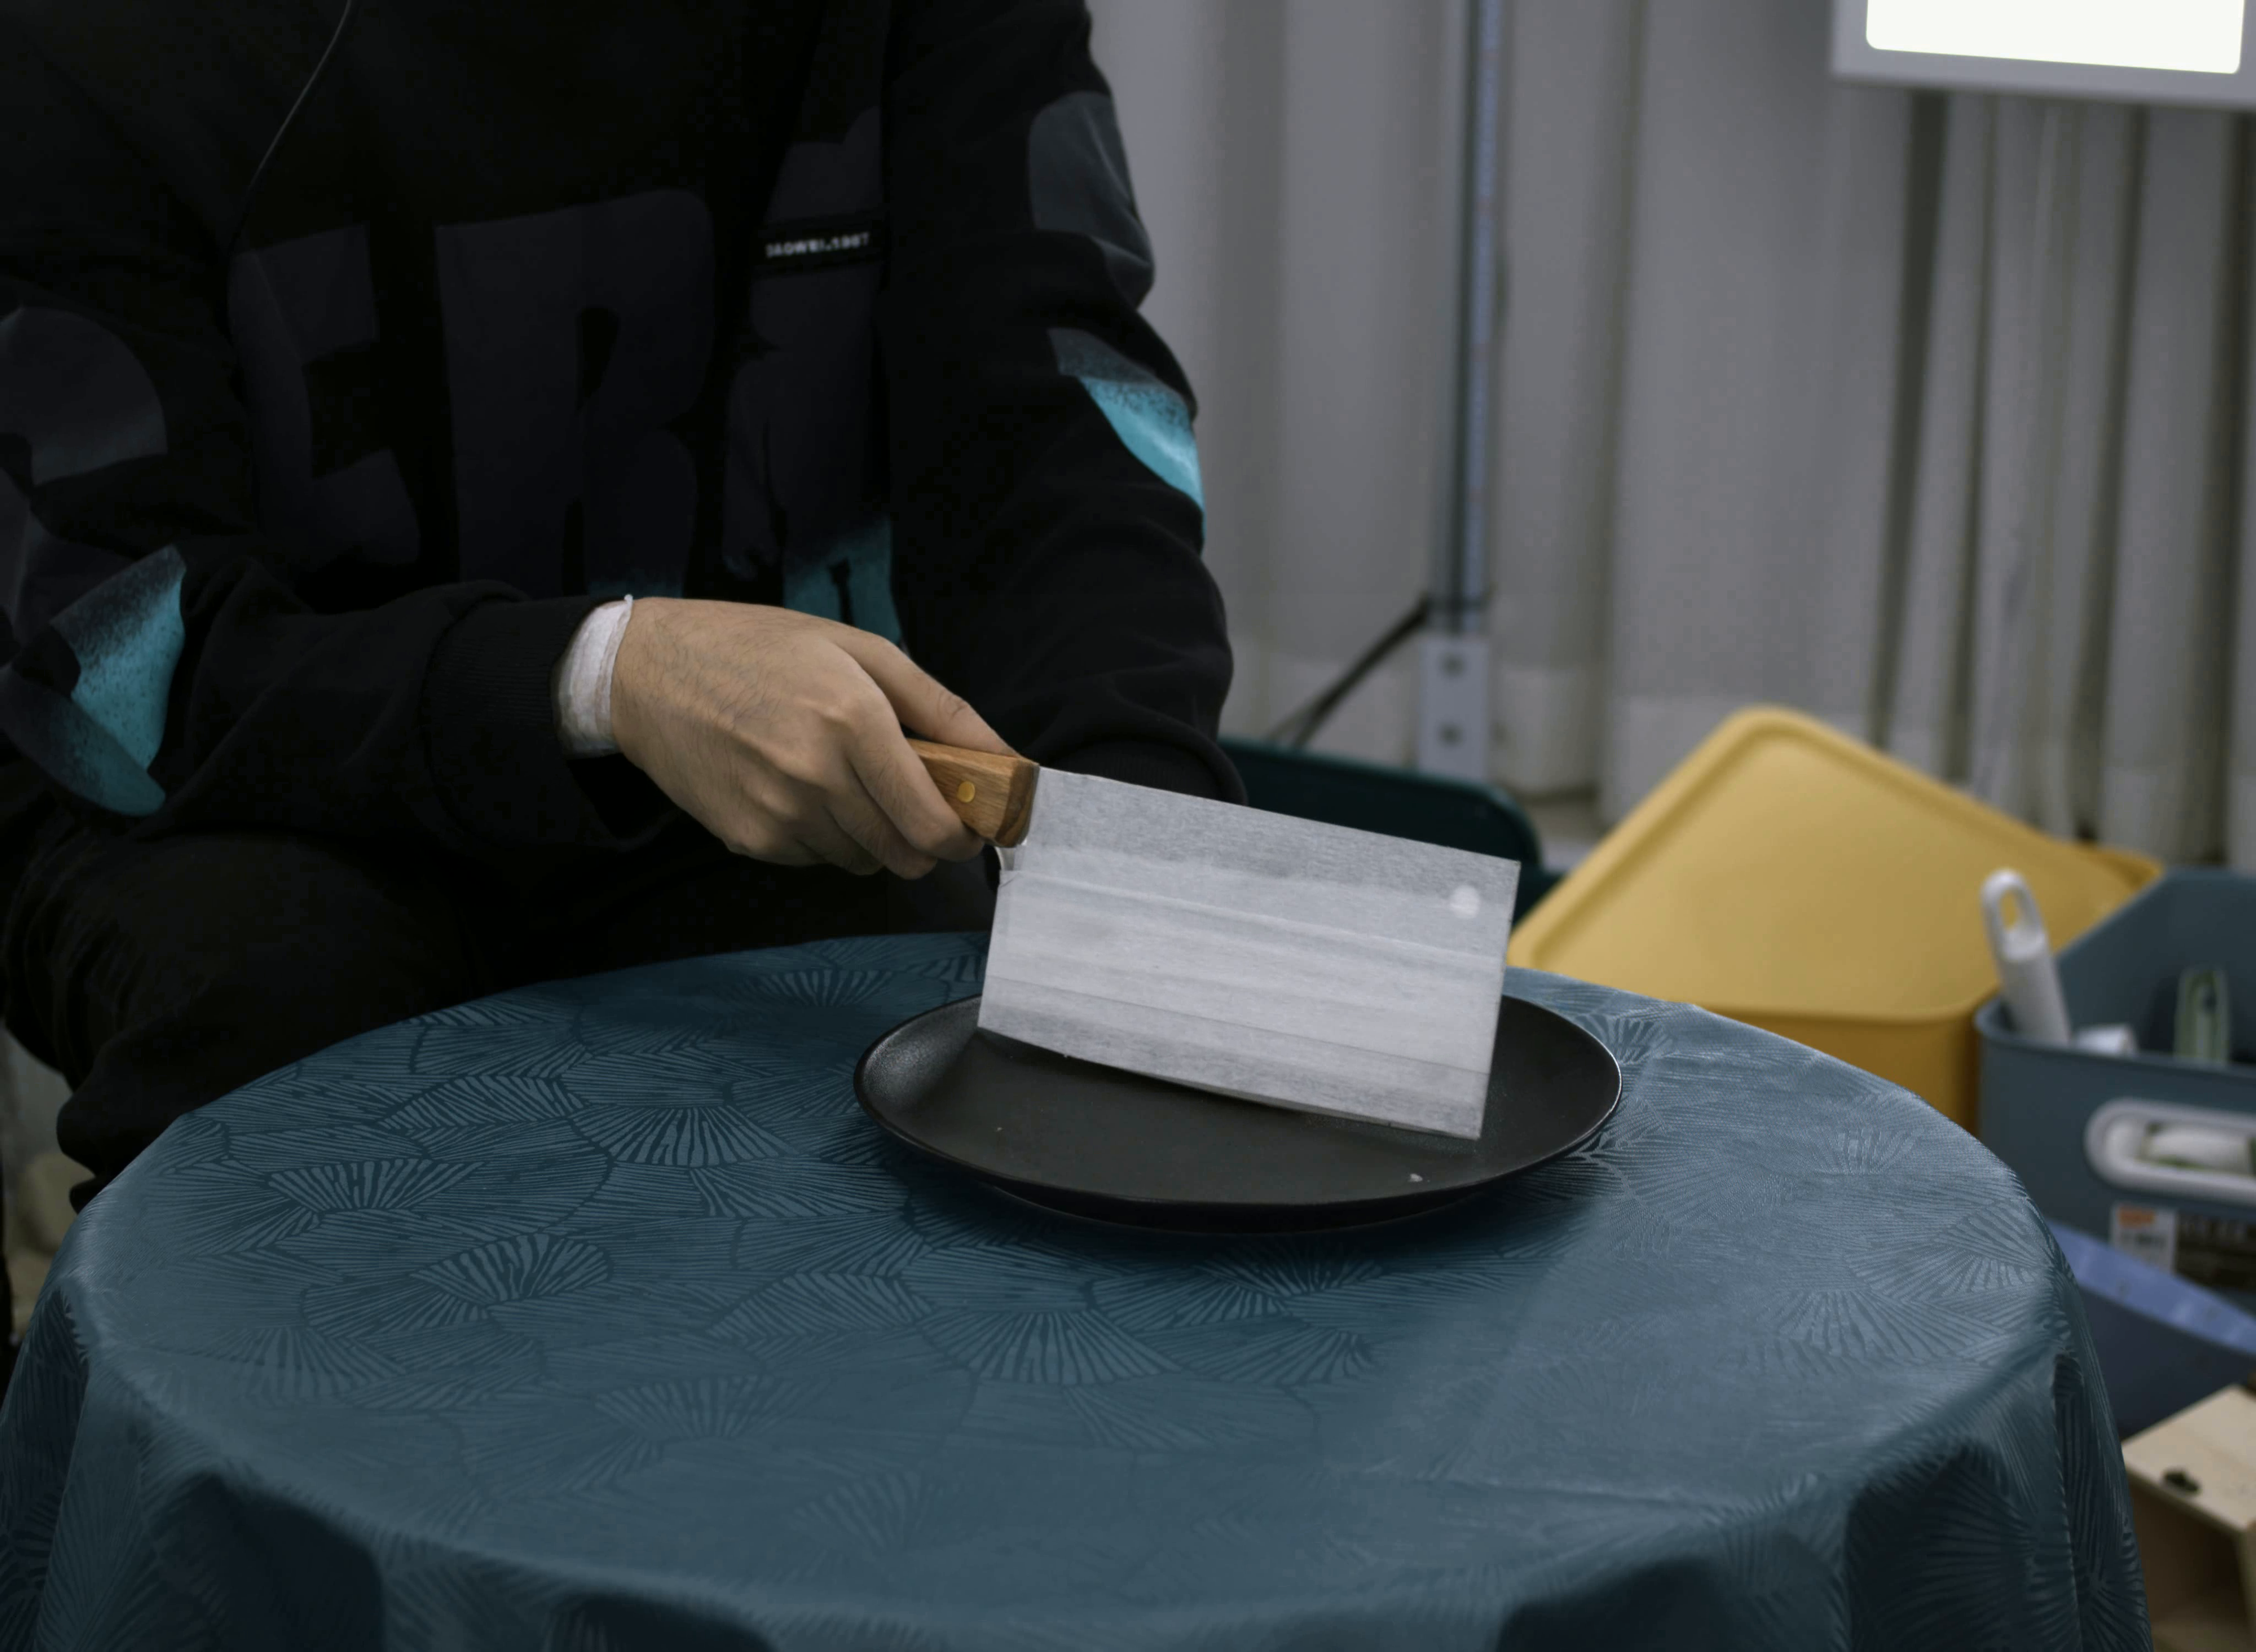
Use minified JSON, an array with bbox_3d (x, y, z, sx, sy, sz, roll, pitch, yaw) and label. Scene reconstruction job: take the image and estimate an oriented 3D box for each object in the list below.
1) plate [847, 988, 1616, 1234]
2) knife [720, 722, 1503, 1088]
[{"bbox_3d":[0.033,0.088,1.666,0.243,0.023,0.243,0,16,0],"label":"plate"},{"bbox_3d":[-0.012,0.027,1.702,0.302,0.093,0.021,11,8,32],"label":"knife"}]
